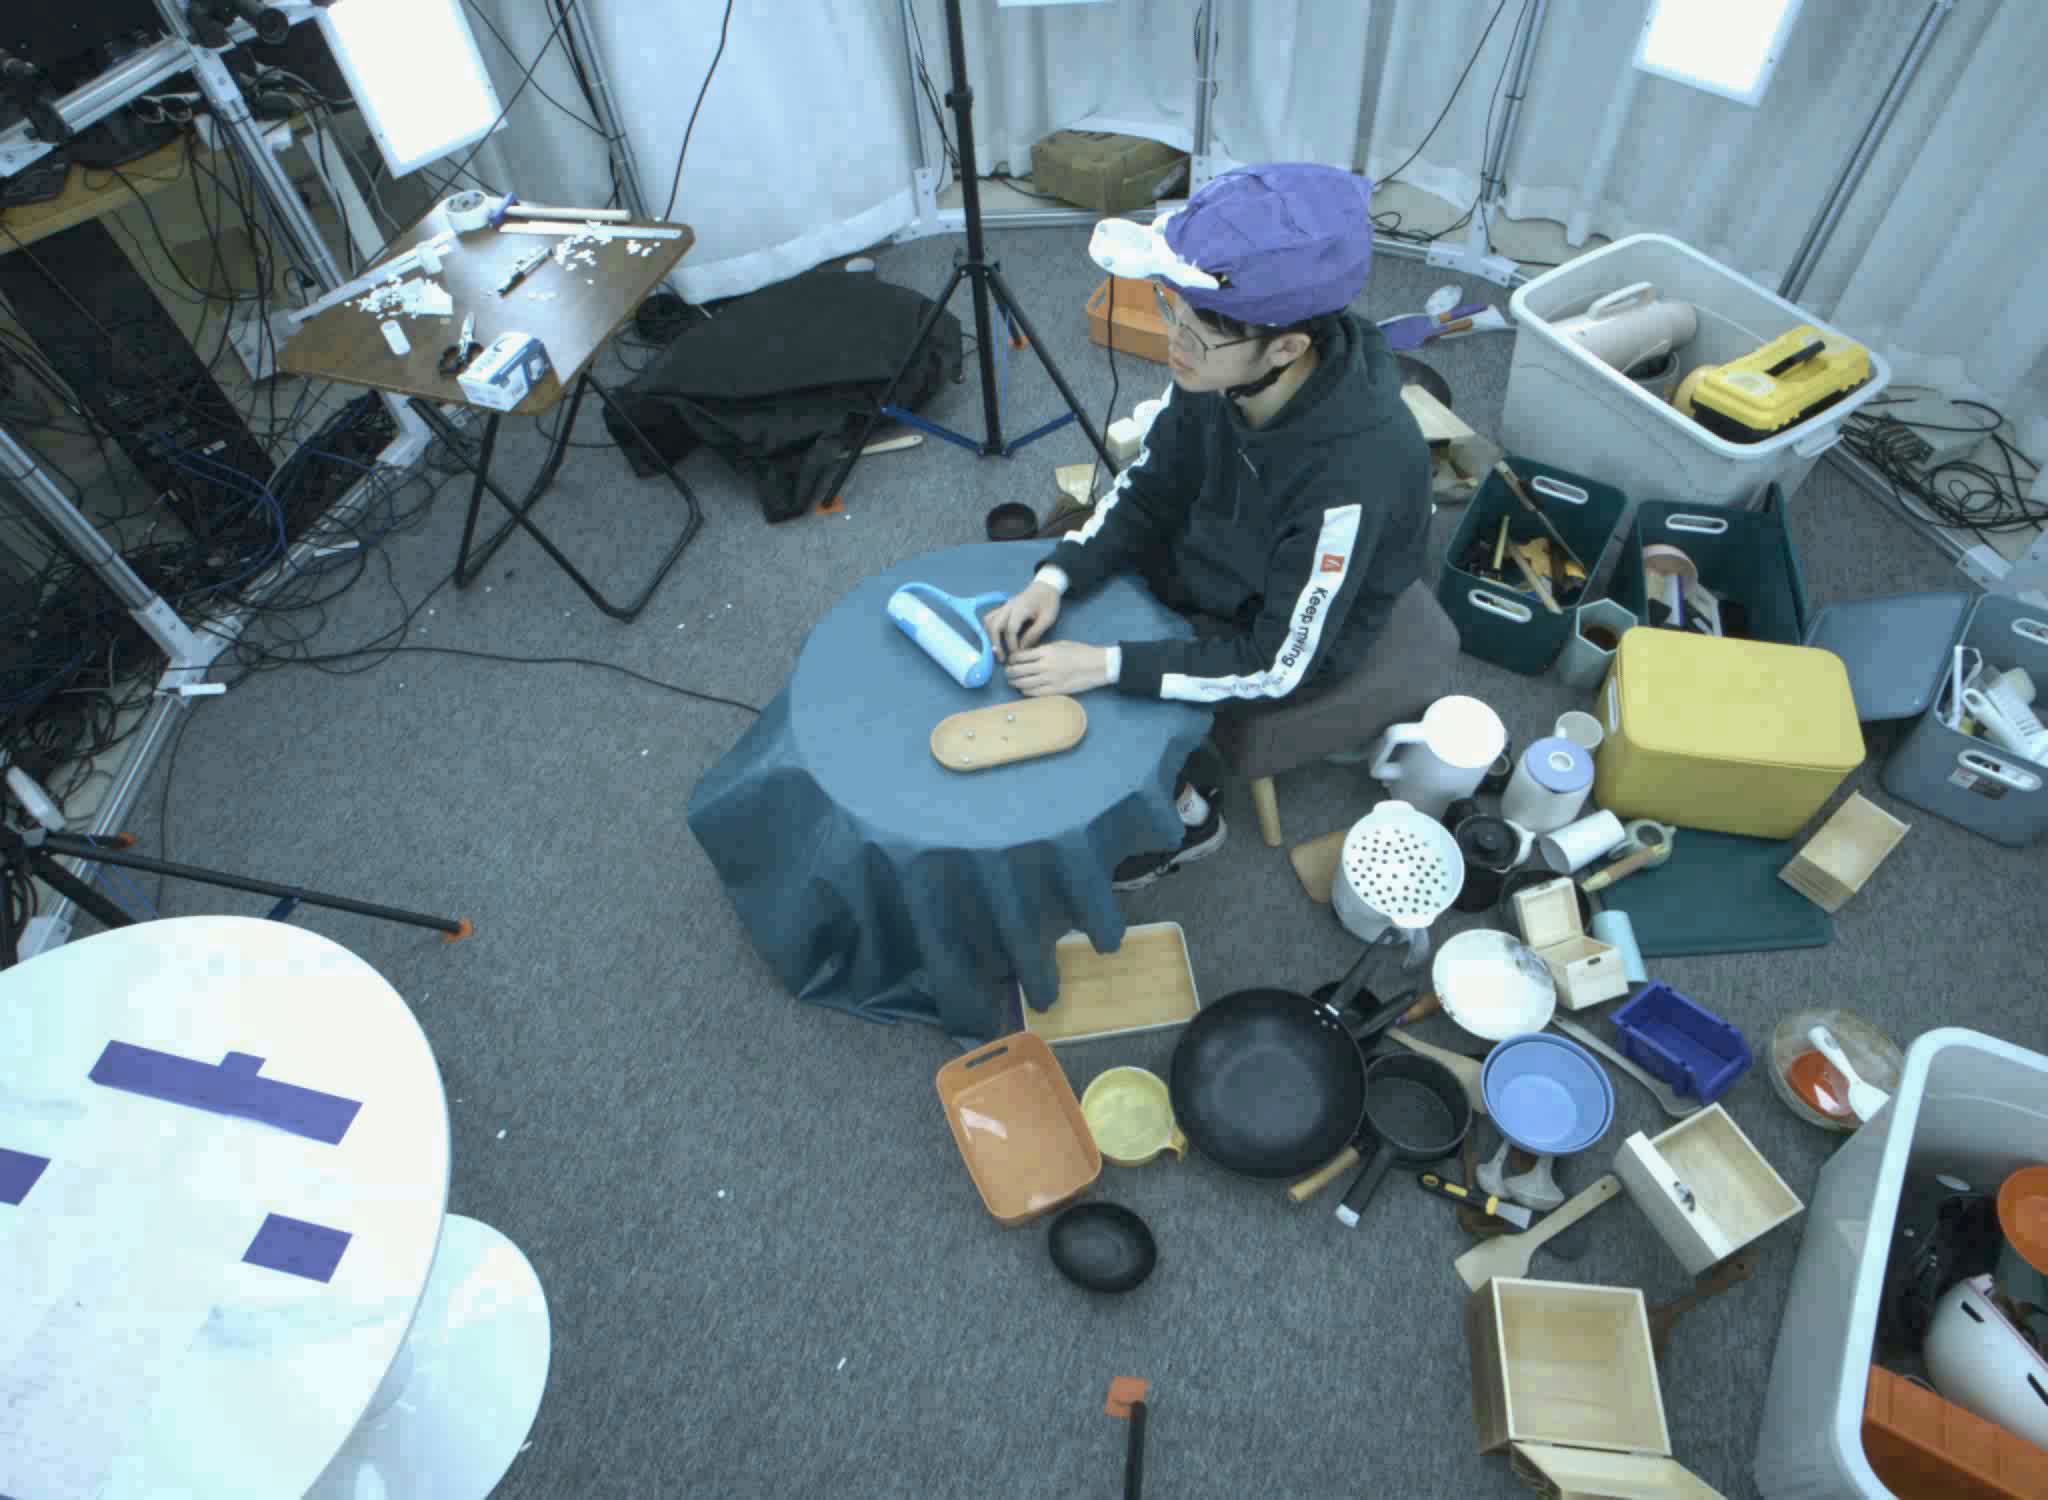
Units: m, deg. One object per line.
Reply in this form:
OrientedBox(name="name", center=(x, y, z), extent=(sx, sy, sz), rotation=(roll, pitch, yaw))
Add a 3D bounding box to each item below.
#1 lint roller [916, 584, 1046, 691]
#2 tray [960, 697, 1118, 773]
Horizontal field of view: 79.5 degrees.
OrientedBox(name="lint roller", center=(-0.043, -0.202, 1.892), extent=(0.181, 0.069, 0.224), rotation=(-37, 60, -21))
OrientedBox(name="tray", center=(0.022, -0.021, 1.788), extent=(0.232, 0.020, 0.100), rotation=(-10, 56, -7))
